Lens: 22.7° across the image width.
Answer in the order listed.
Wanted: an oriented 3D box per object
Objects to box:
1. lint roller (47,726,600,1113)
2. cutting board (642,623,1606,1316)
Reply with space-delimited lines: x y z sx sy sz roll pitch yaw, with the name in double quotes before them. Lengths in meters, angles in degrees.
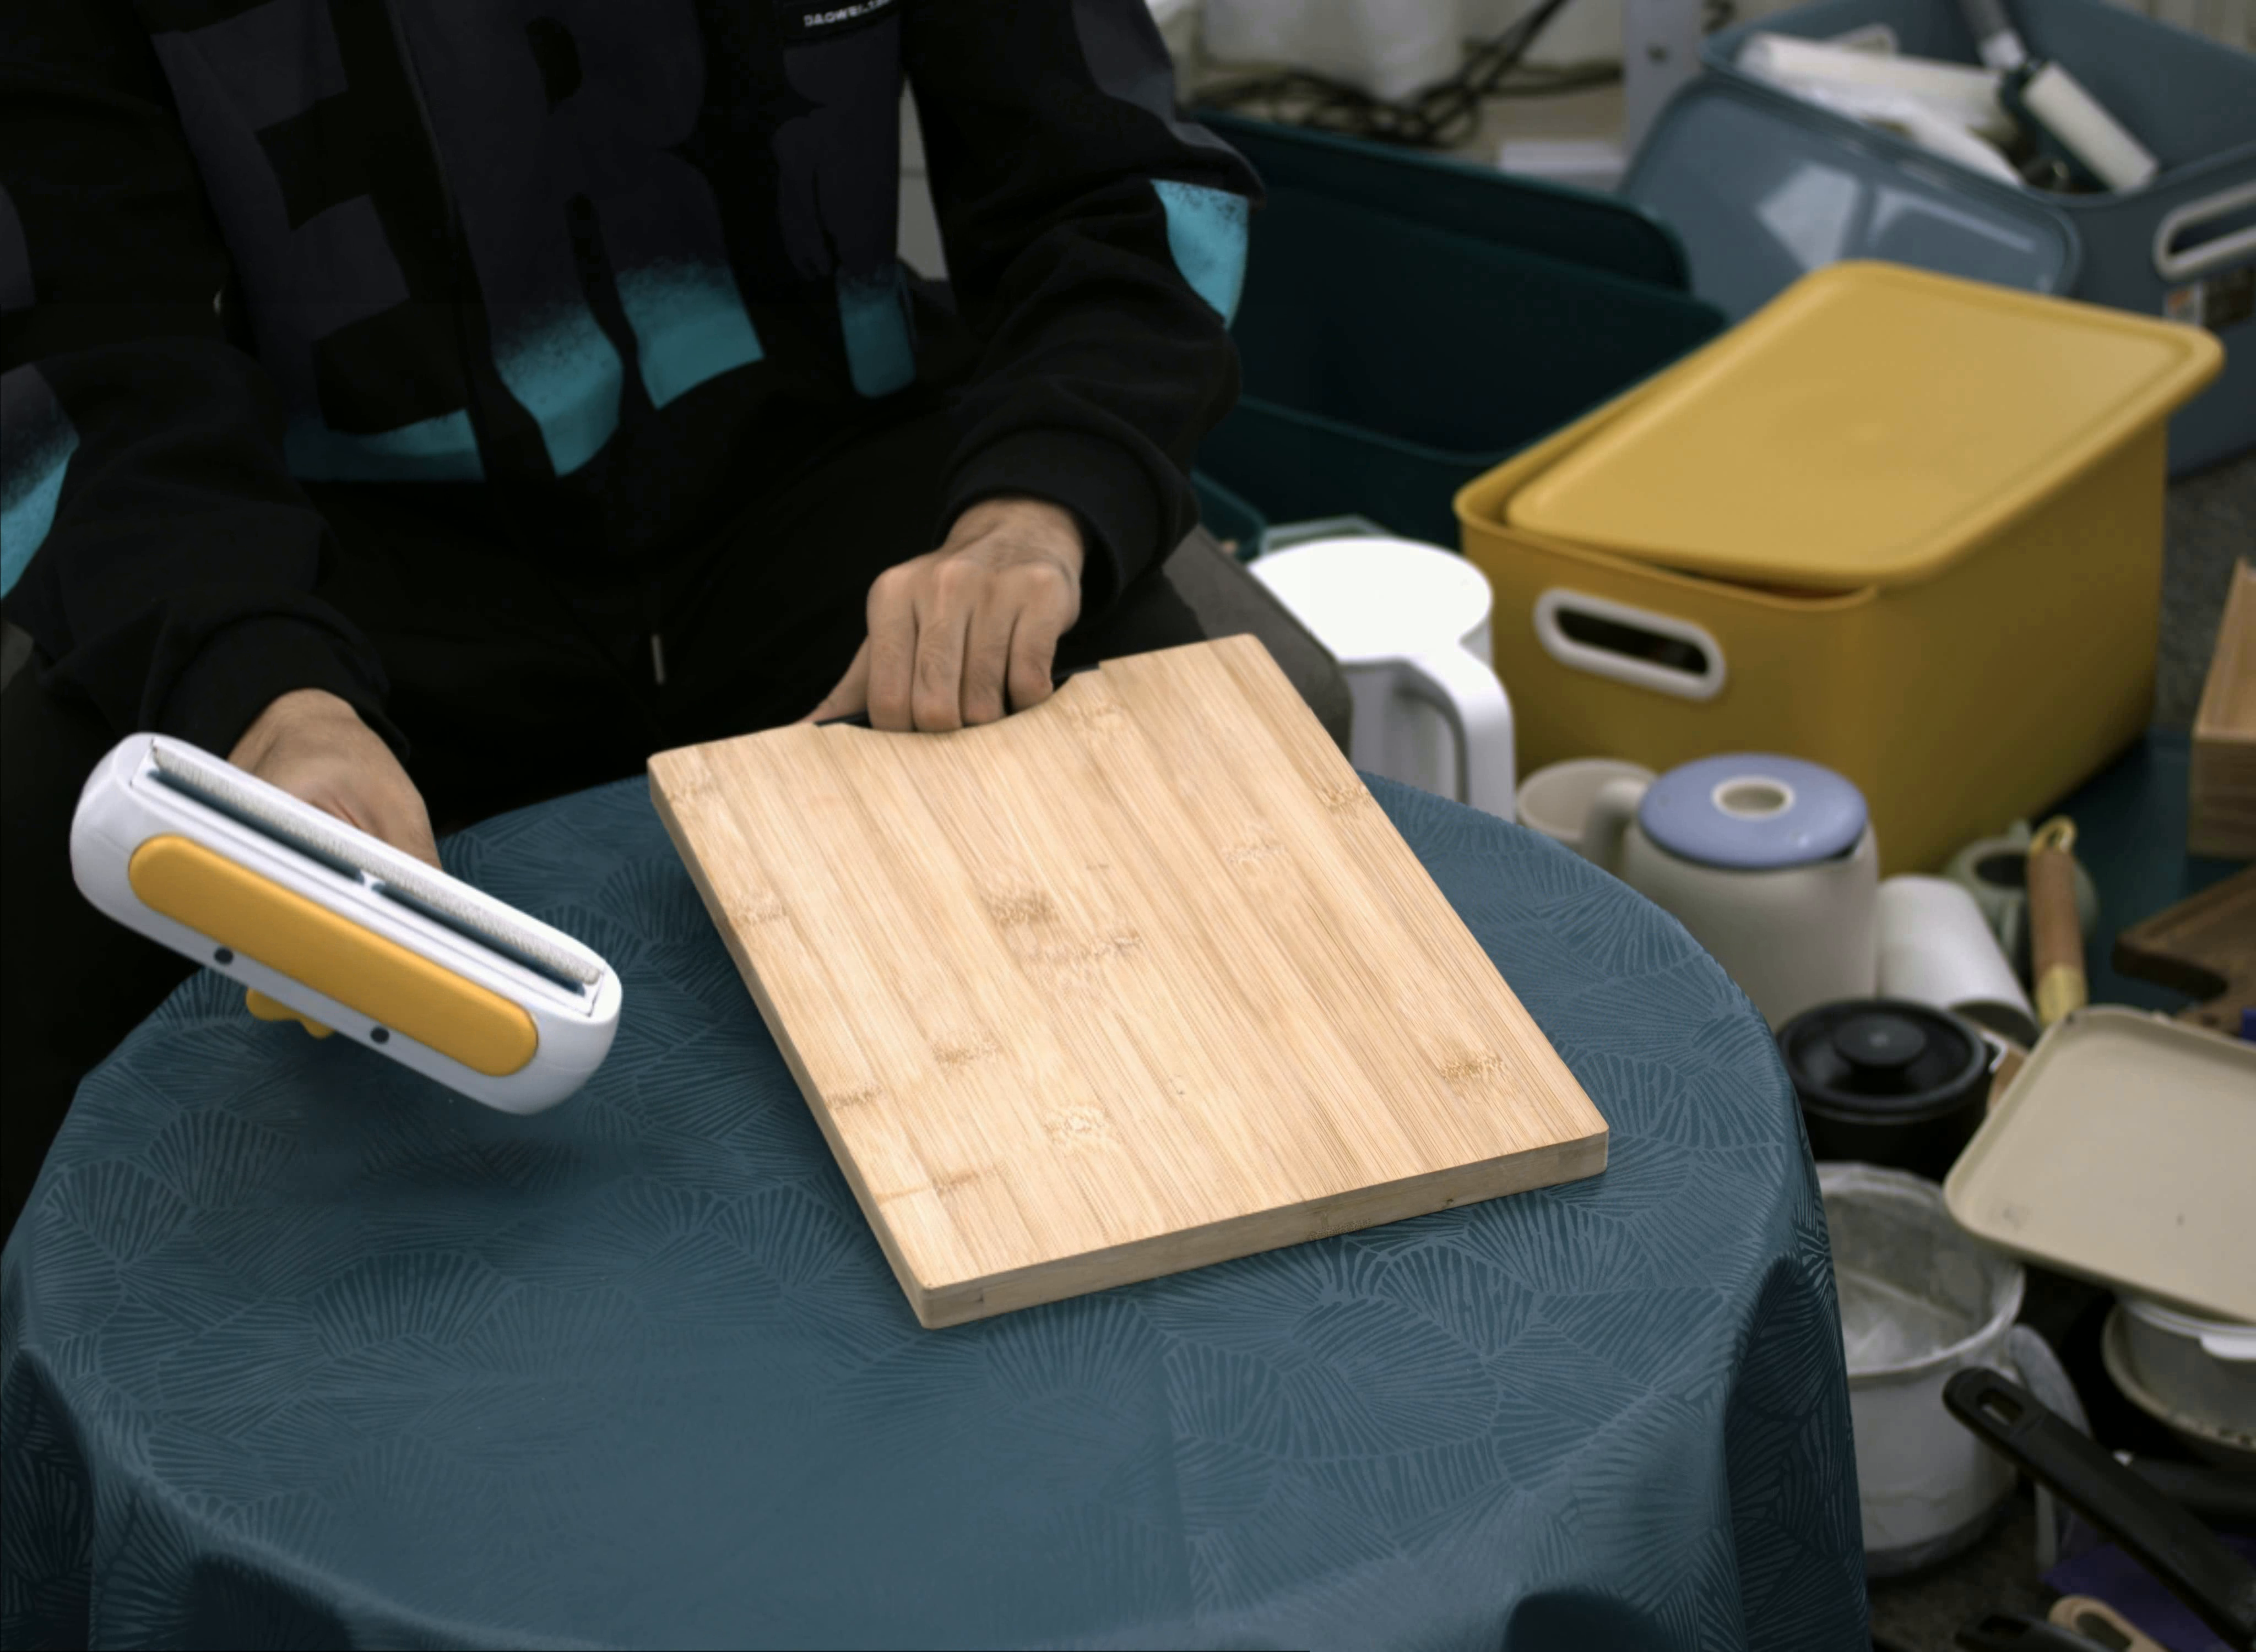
"lint roller" -0.268 0.025 1.918 0.192 0.074 0.194 24 12 -5
"cutting board" -0.010 0.043 1.961 0.251 0.023 0.352 -12 34 -16
